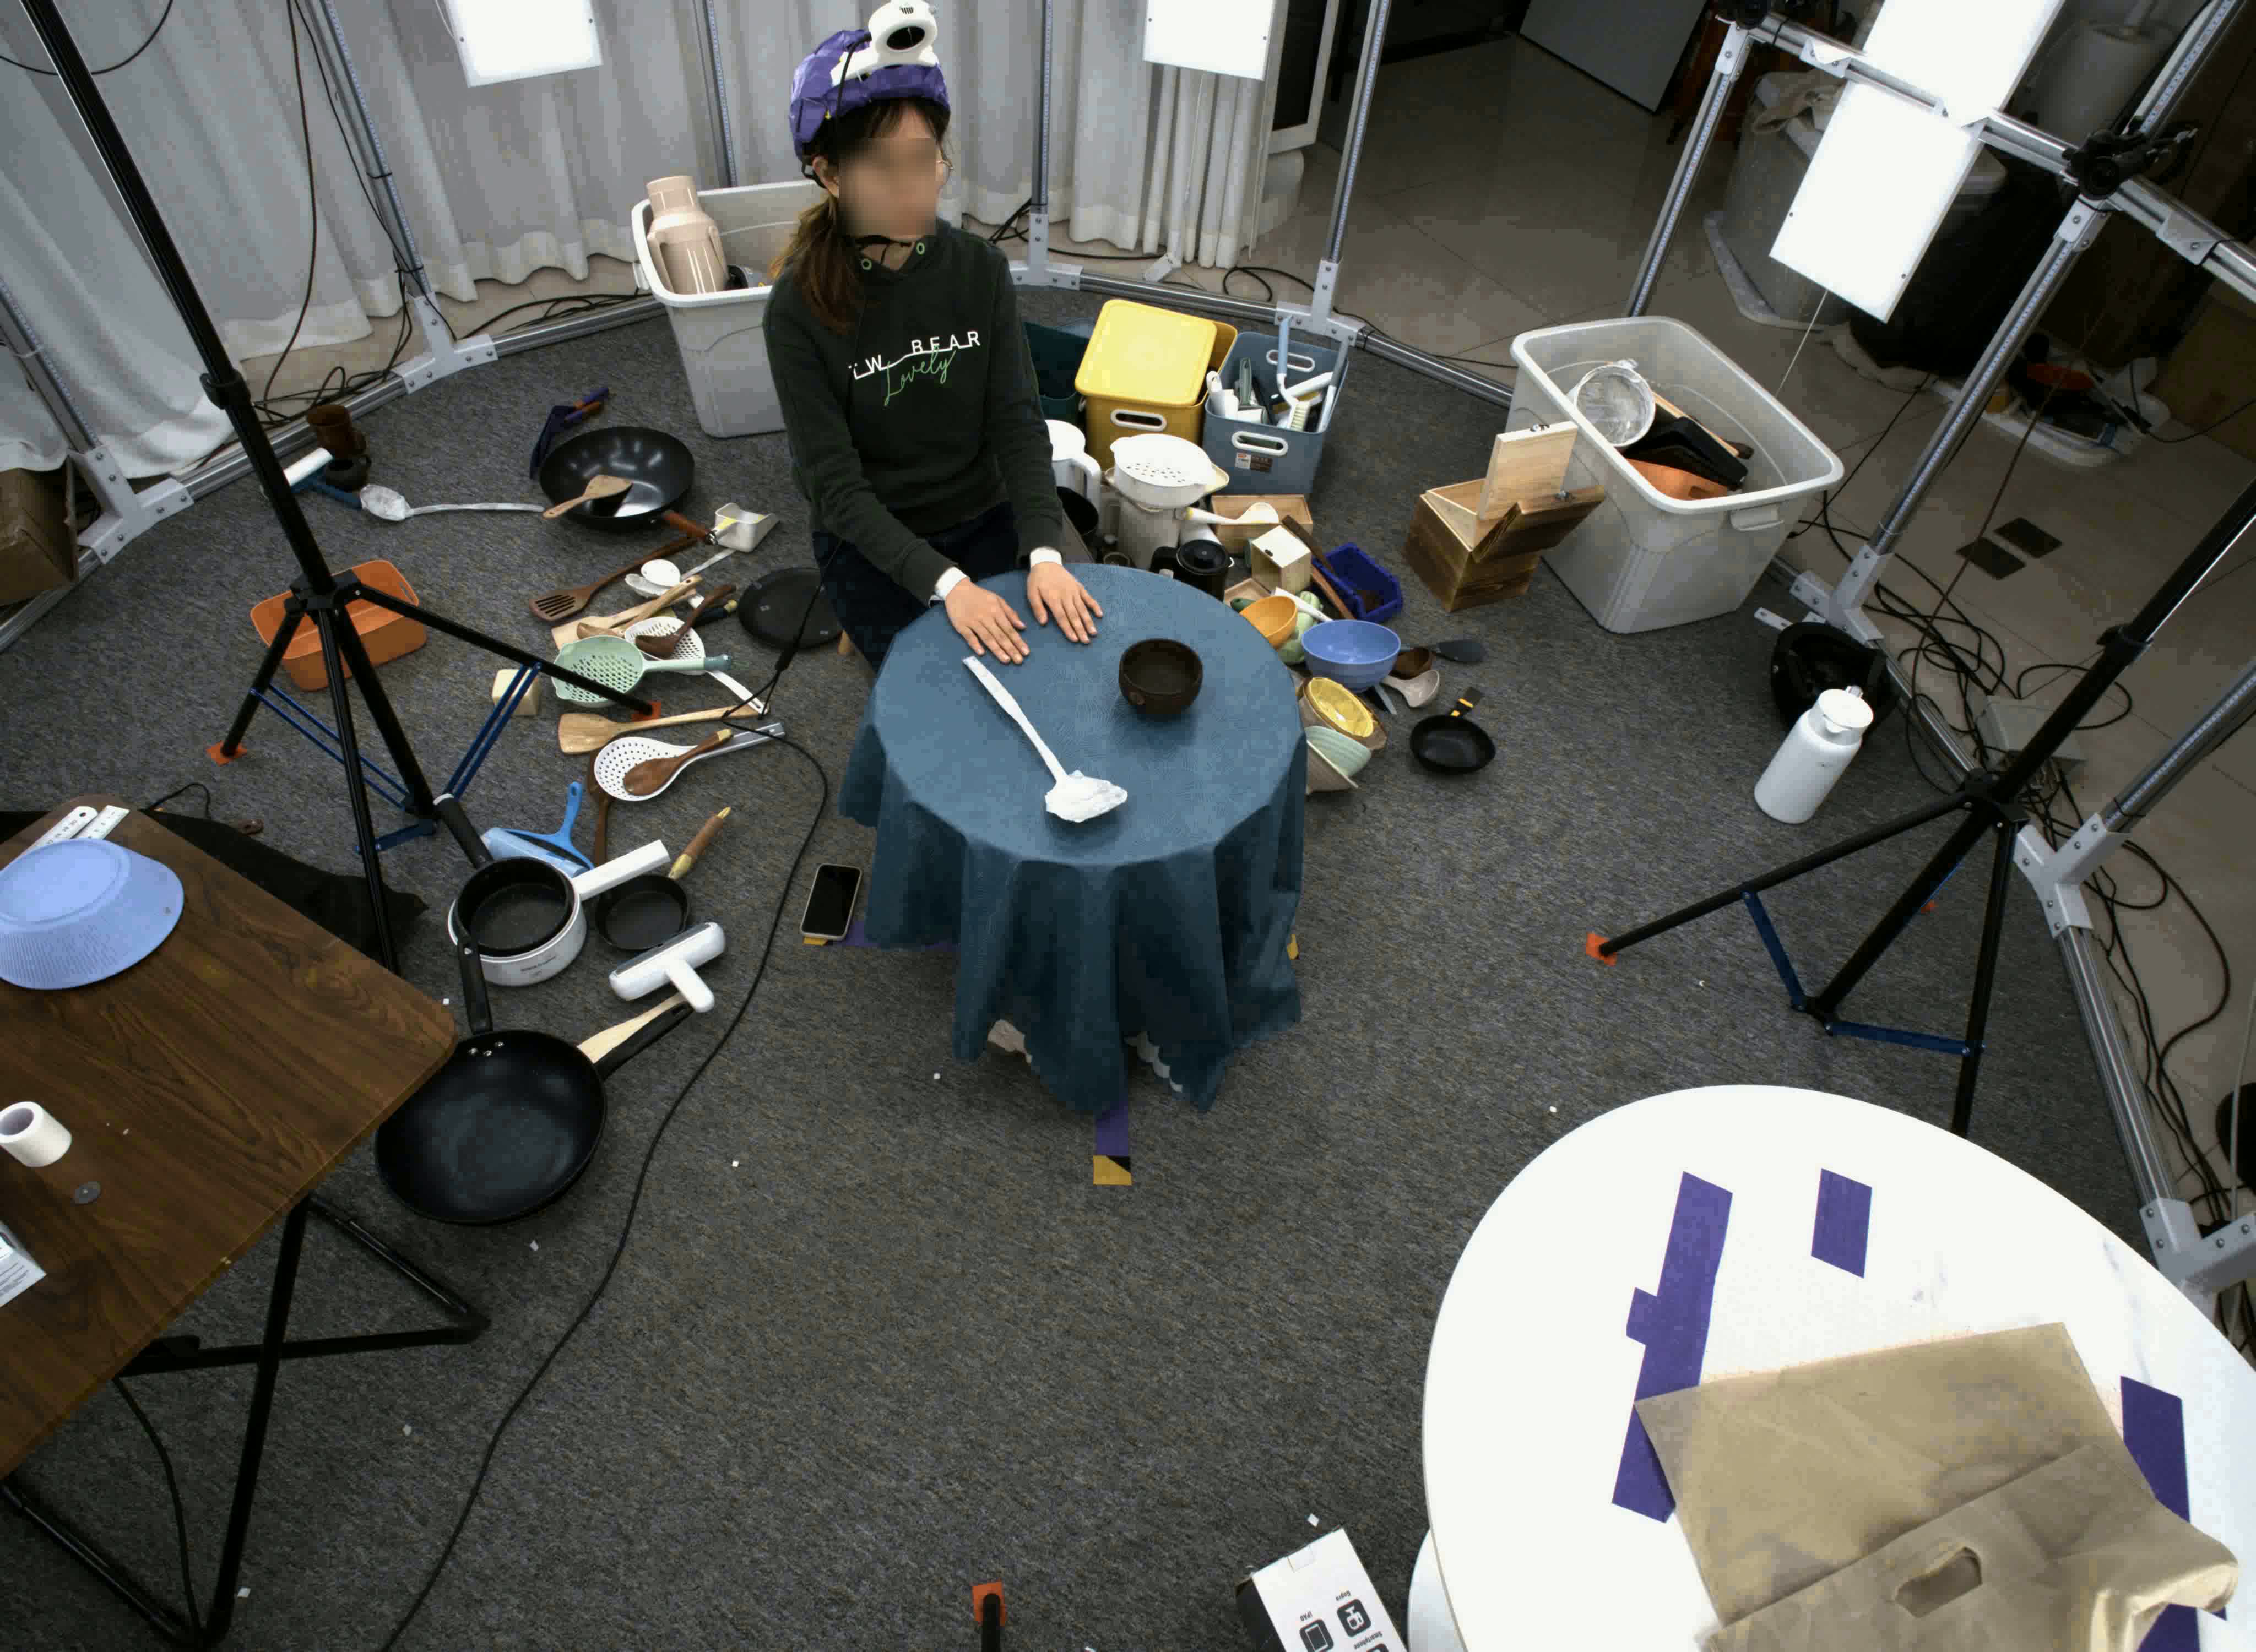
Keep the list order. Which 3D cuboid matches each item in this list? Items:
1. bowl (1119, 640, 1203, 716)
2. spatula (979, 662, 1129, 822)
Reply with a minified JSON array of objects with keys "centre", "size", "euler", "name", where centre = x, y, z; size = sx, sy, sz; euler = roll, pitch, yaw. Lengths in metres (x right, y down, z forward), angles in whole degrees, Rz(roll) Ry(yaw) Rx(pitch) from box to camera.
[{"centre":[0.045,-0.201,1.816],"size":[0.118,0.068,0.121],"euler":[3,47,-3],"name":"bowl"},{"centre":[-0.124,-0.127,1.761],"size":[0.099,0.043,0.372],"euler":[-23,54,-20],"name":"spatula"}]
